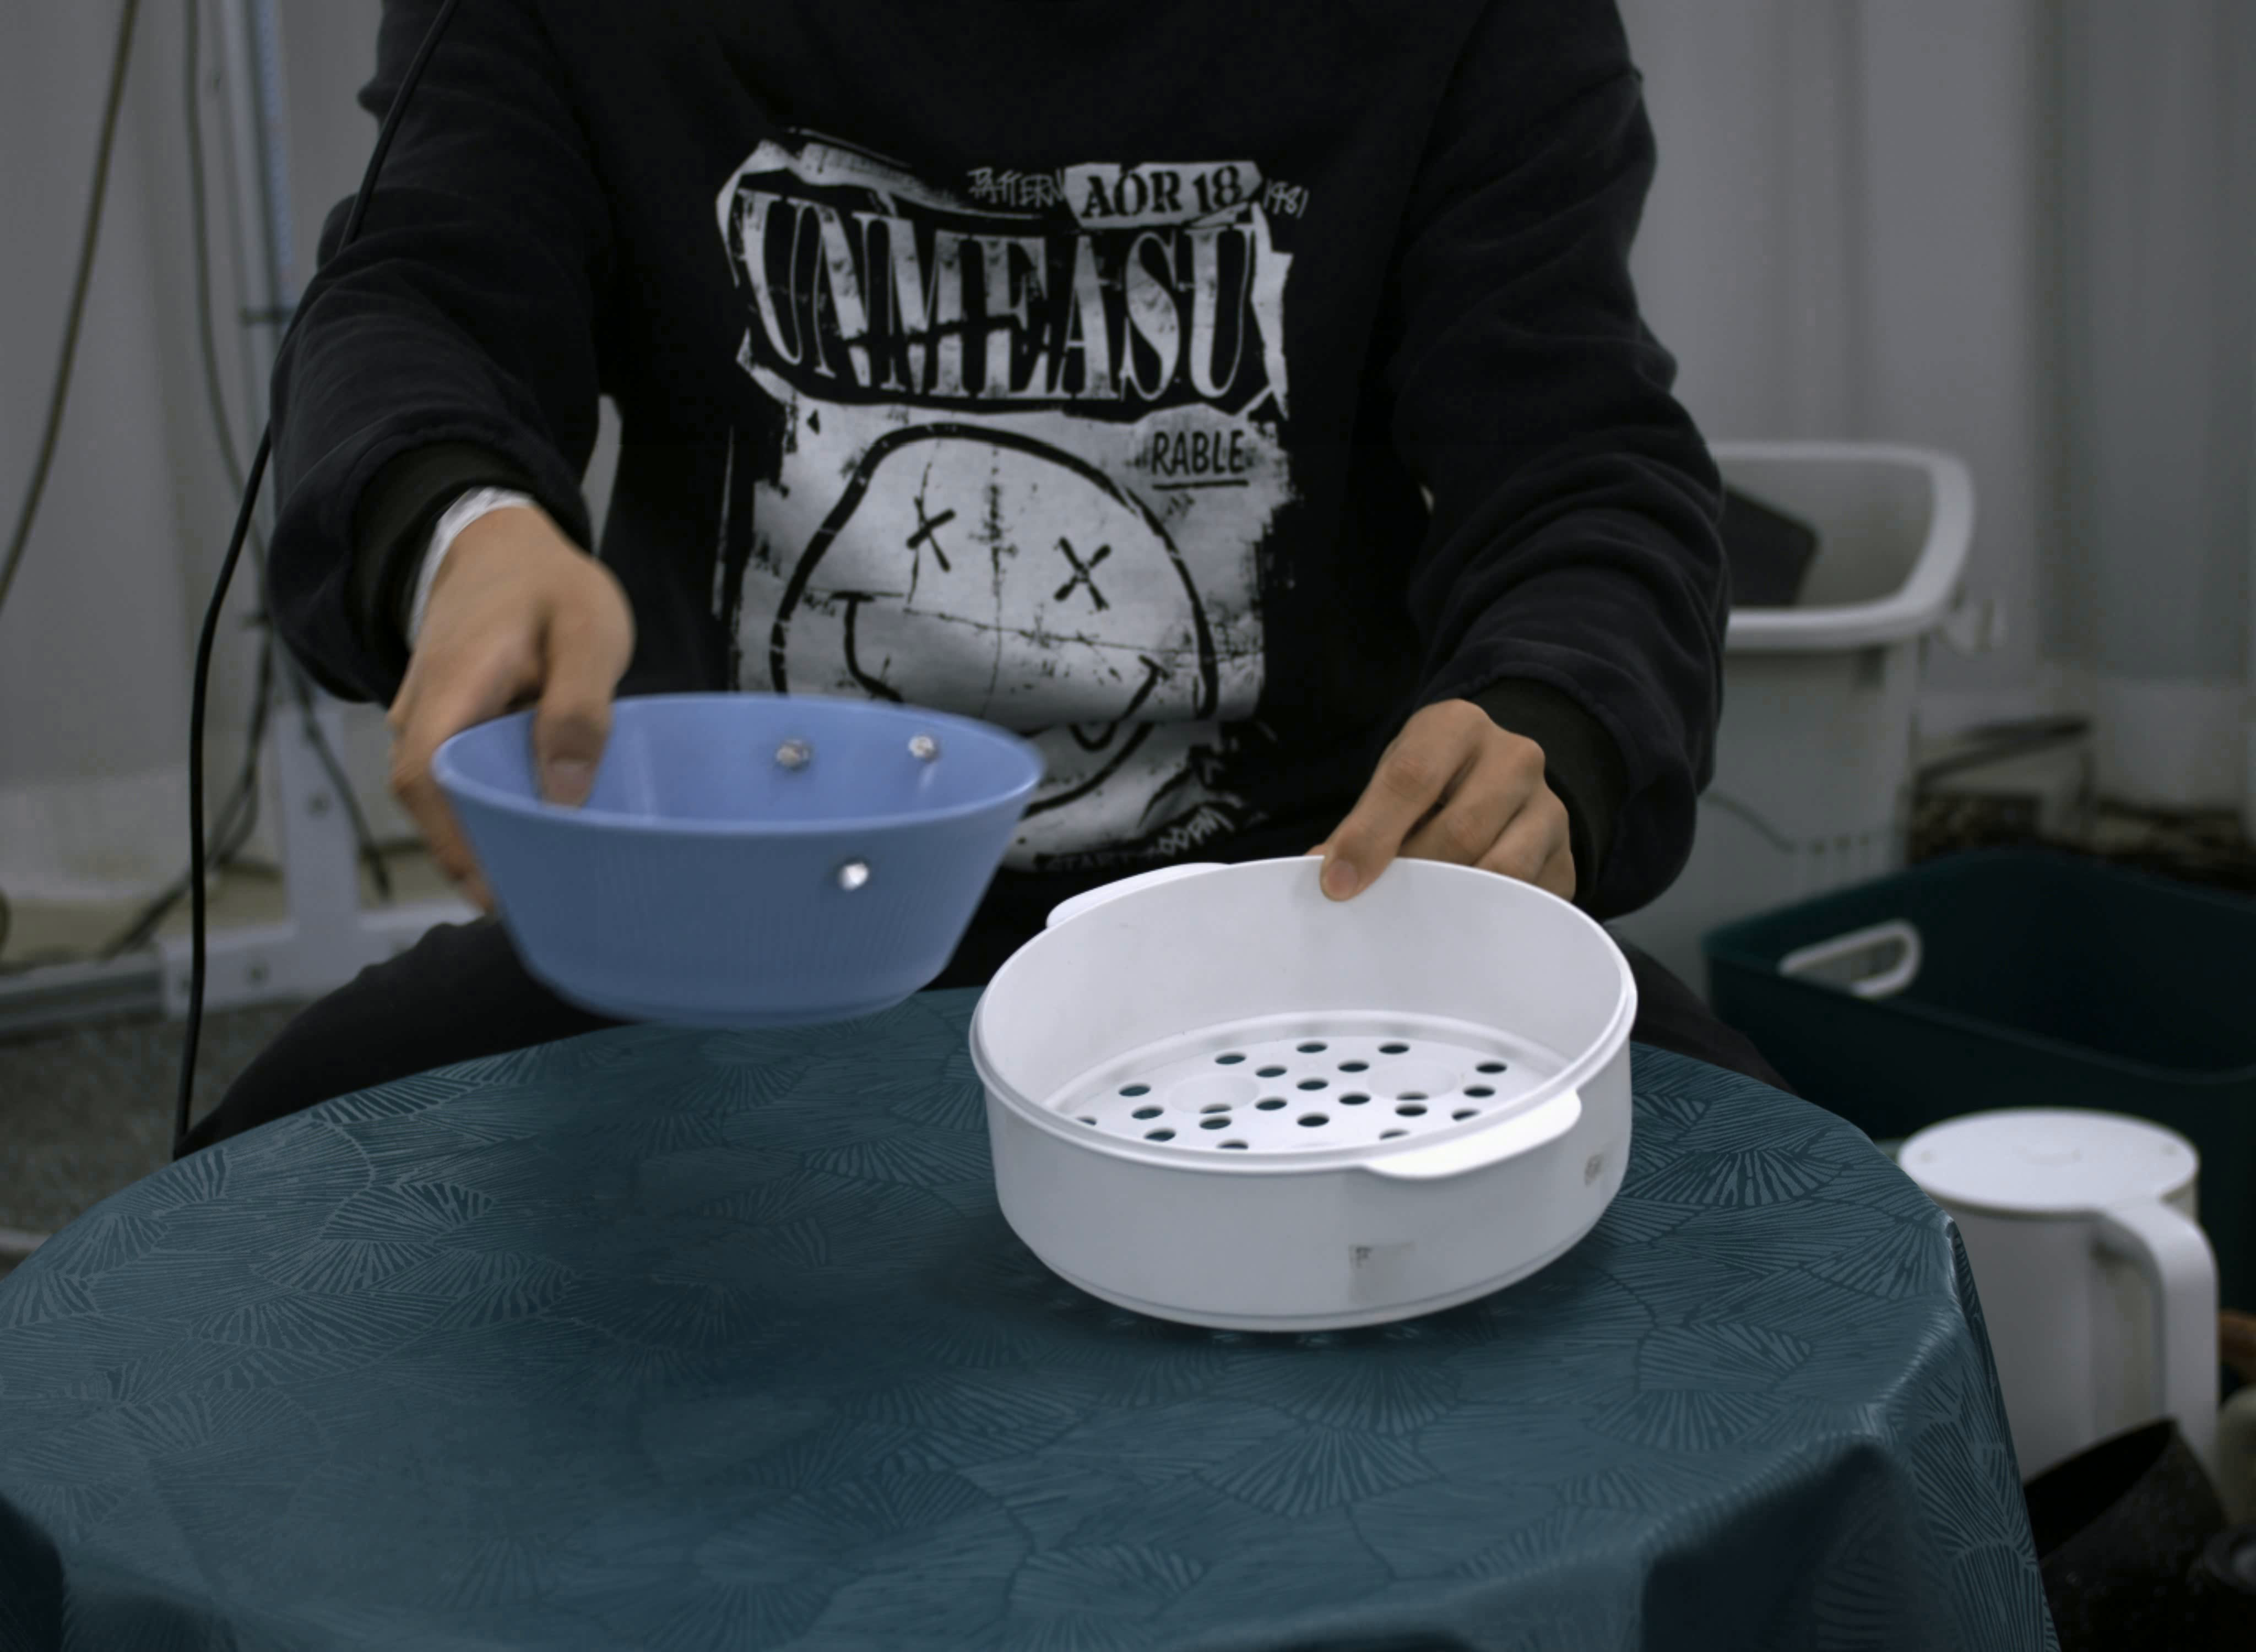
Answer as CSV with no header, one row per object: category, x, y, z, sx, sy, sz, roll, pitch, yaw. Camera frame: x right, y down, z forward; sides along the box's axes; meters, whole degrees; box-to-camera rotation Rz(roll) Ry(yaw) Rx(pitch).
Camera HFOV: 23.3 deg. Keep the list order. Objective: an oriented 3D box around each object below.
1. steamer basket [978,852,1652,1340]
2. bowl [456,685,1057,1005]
steamer basket,0.057,0.081,1.637,0.201,0.068,0.233,-17,29,-25
bowl,-0.109,0.006,1.598,0.175,0.070,0.177,2,12,-1
